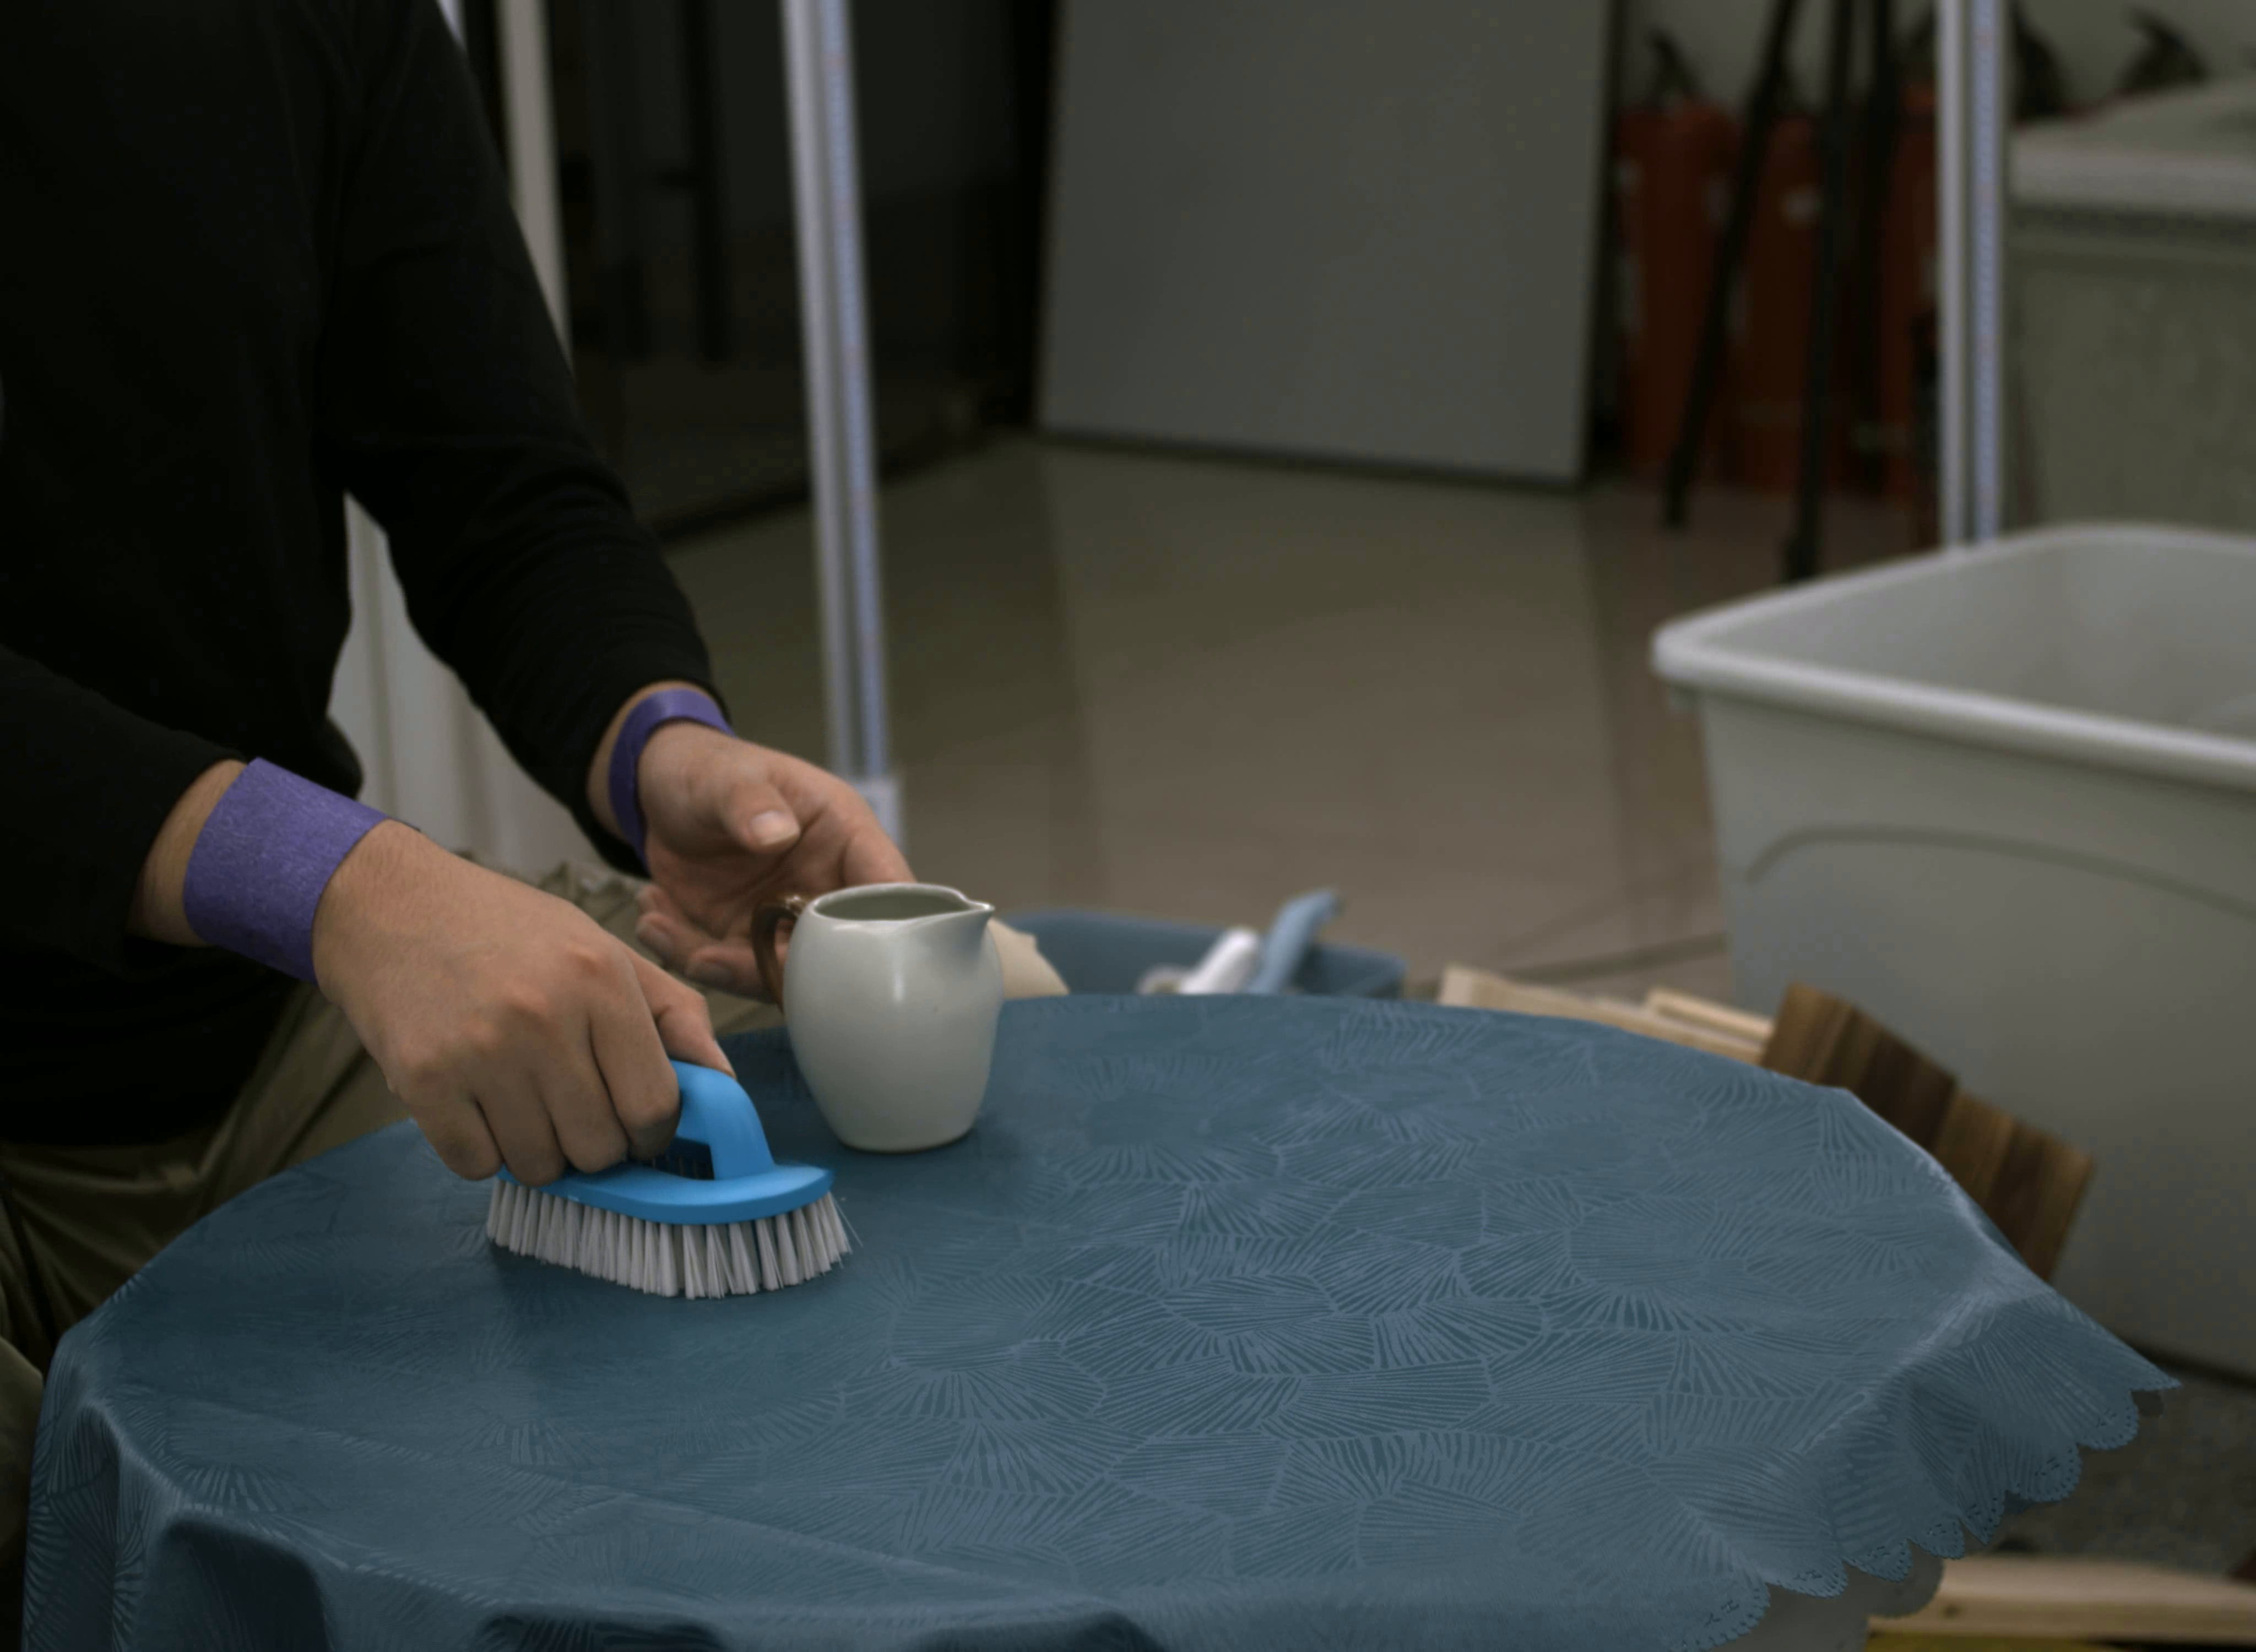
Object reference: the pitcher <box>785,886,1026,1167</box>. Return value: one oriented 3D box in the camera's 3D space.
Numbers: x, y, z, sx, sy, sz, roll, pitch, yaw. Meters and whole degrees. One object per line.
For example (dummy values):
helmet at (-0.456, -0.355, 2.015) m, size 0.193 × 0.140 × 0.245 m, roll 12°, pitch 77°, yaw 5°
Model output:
pitcher at (-0.078, 0.065, 1.835) m, size 0.074 × 0.089 × 0.120 m, roll -8°, pitch 16°, yaw -42°

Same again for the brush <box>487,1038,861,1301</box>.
brush at (-0.150, 0.104, 1.744) m, size 0.083 × 0.064 × 0.143 m, roll -21°, pitch 20°, yaw -39°
